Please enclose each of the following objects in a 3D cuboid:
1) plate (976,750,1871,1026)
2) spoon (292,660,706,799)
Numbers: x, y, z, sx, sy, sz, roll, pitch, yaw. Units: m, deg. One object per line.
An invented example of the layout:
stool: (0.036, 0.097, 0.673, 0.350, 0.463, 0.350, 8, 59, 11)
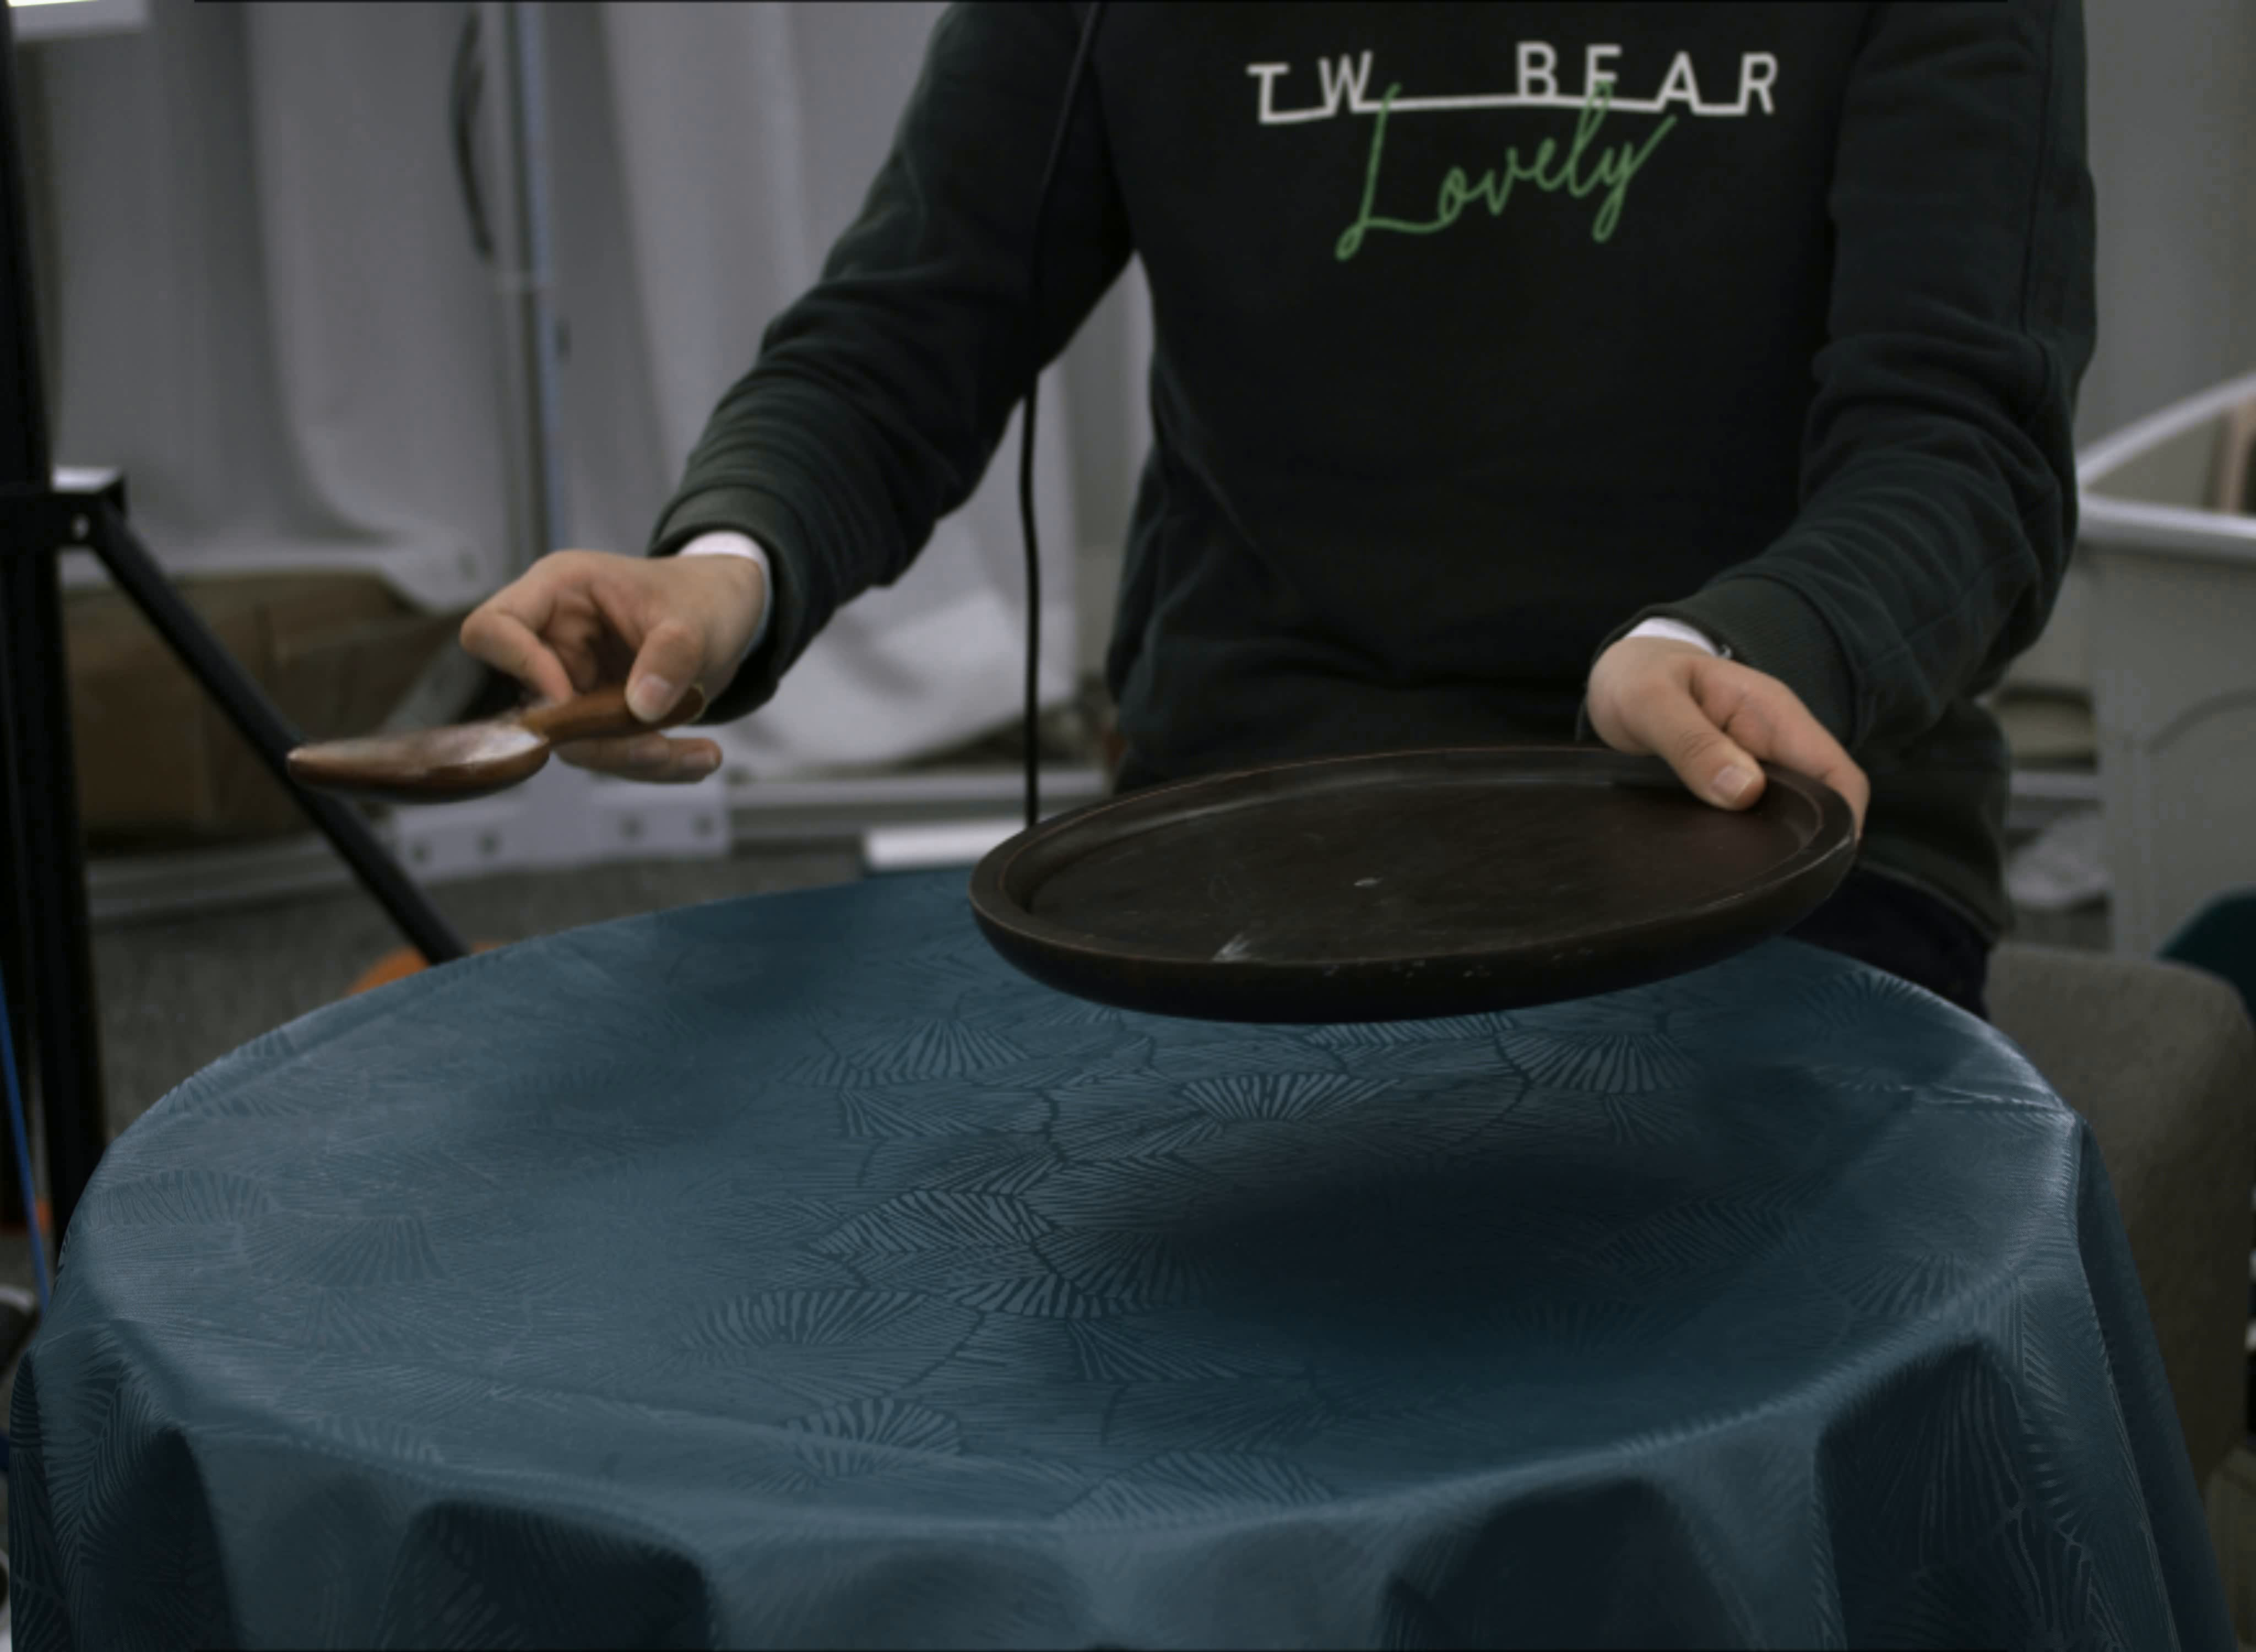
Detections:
plate: (0.083, 0.015, 1.505, 0.253, 0.029, 0.256, -5, 14, 0)
spoon: (-0.186, -0.029, 1.666, 0.076, 0.017, 0.212, 3, 11, 23)
